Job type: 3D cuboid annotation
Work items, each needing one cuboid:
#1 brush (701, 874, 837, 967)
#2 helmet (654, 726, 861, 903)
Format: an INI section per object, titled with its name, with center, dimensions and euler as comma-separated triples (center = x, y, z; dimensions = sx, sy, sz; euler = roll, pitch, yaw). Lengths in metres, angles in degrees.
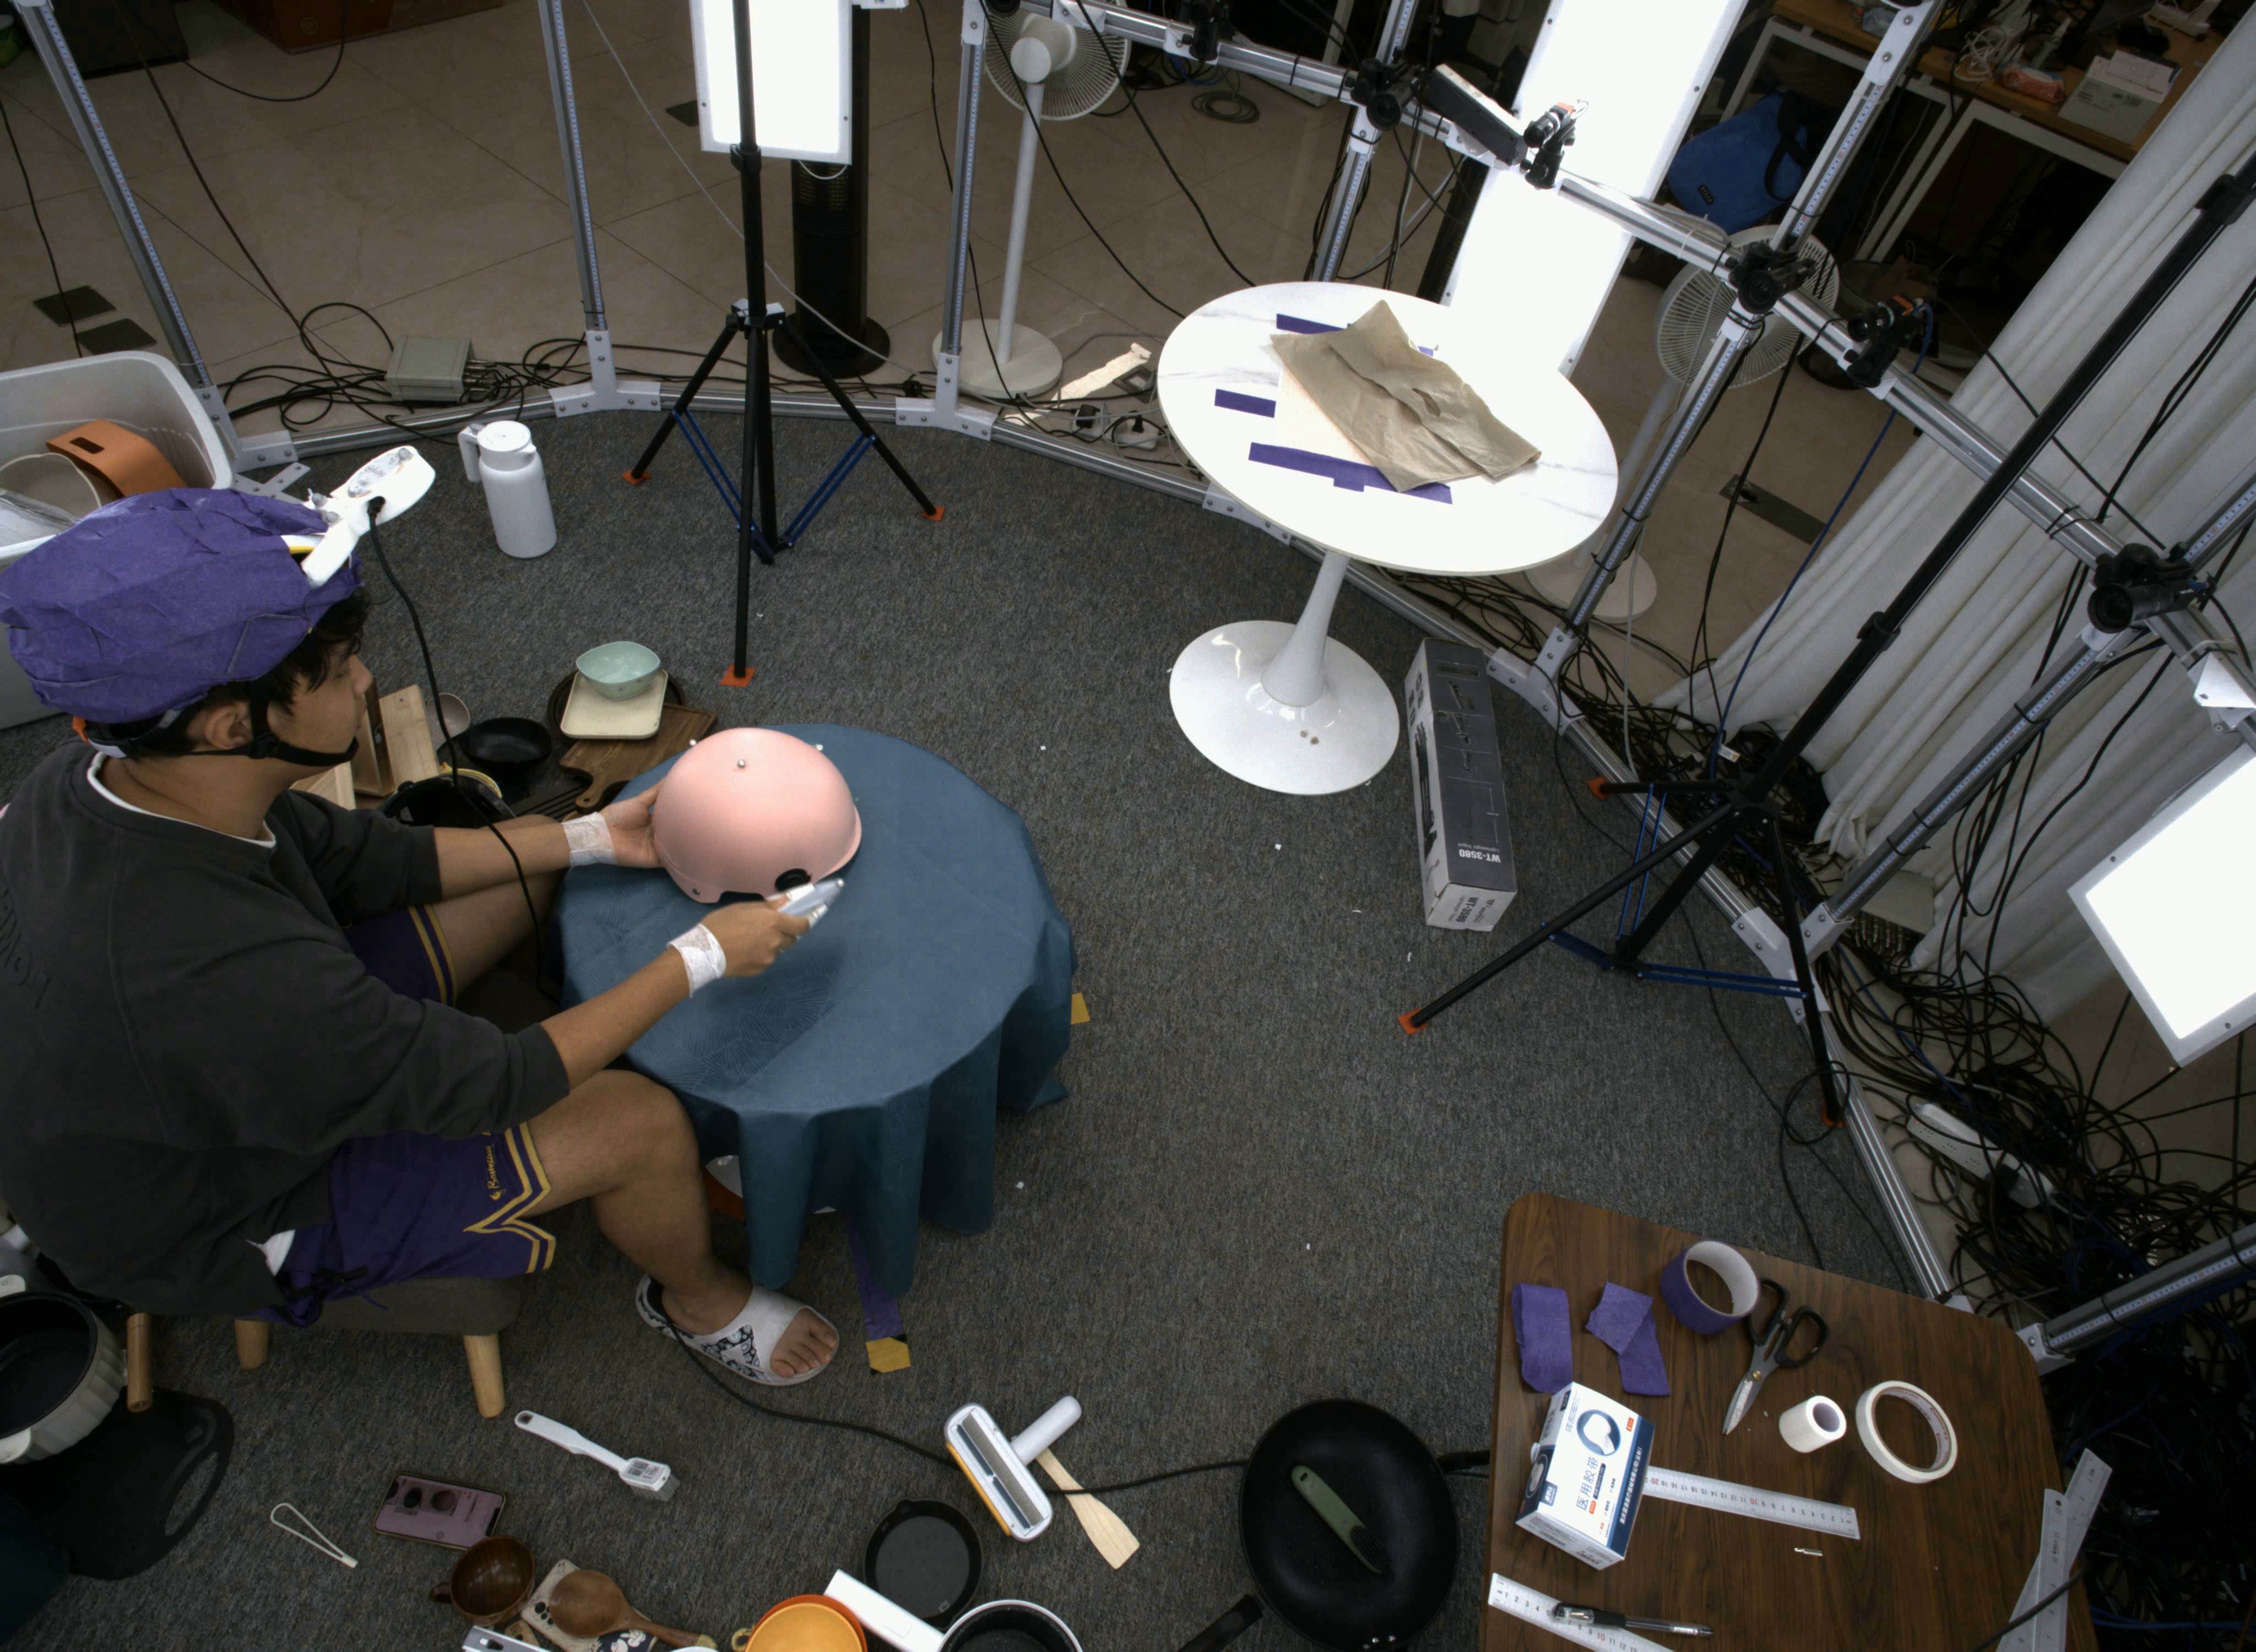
[brush]
center = -0.413, 0.098, 1.525
dimensions = 0.176, 0.092, 0.062
euler = -32, 97, -25
[helmet]
center = -0.469, -0.033, 1.645
dimensions = 0.268, 0.162, 0.228
euler = -7, 54, -24
